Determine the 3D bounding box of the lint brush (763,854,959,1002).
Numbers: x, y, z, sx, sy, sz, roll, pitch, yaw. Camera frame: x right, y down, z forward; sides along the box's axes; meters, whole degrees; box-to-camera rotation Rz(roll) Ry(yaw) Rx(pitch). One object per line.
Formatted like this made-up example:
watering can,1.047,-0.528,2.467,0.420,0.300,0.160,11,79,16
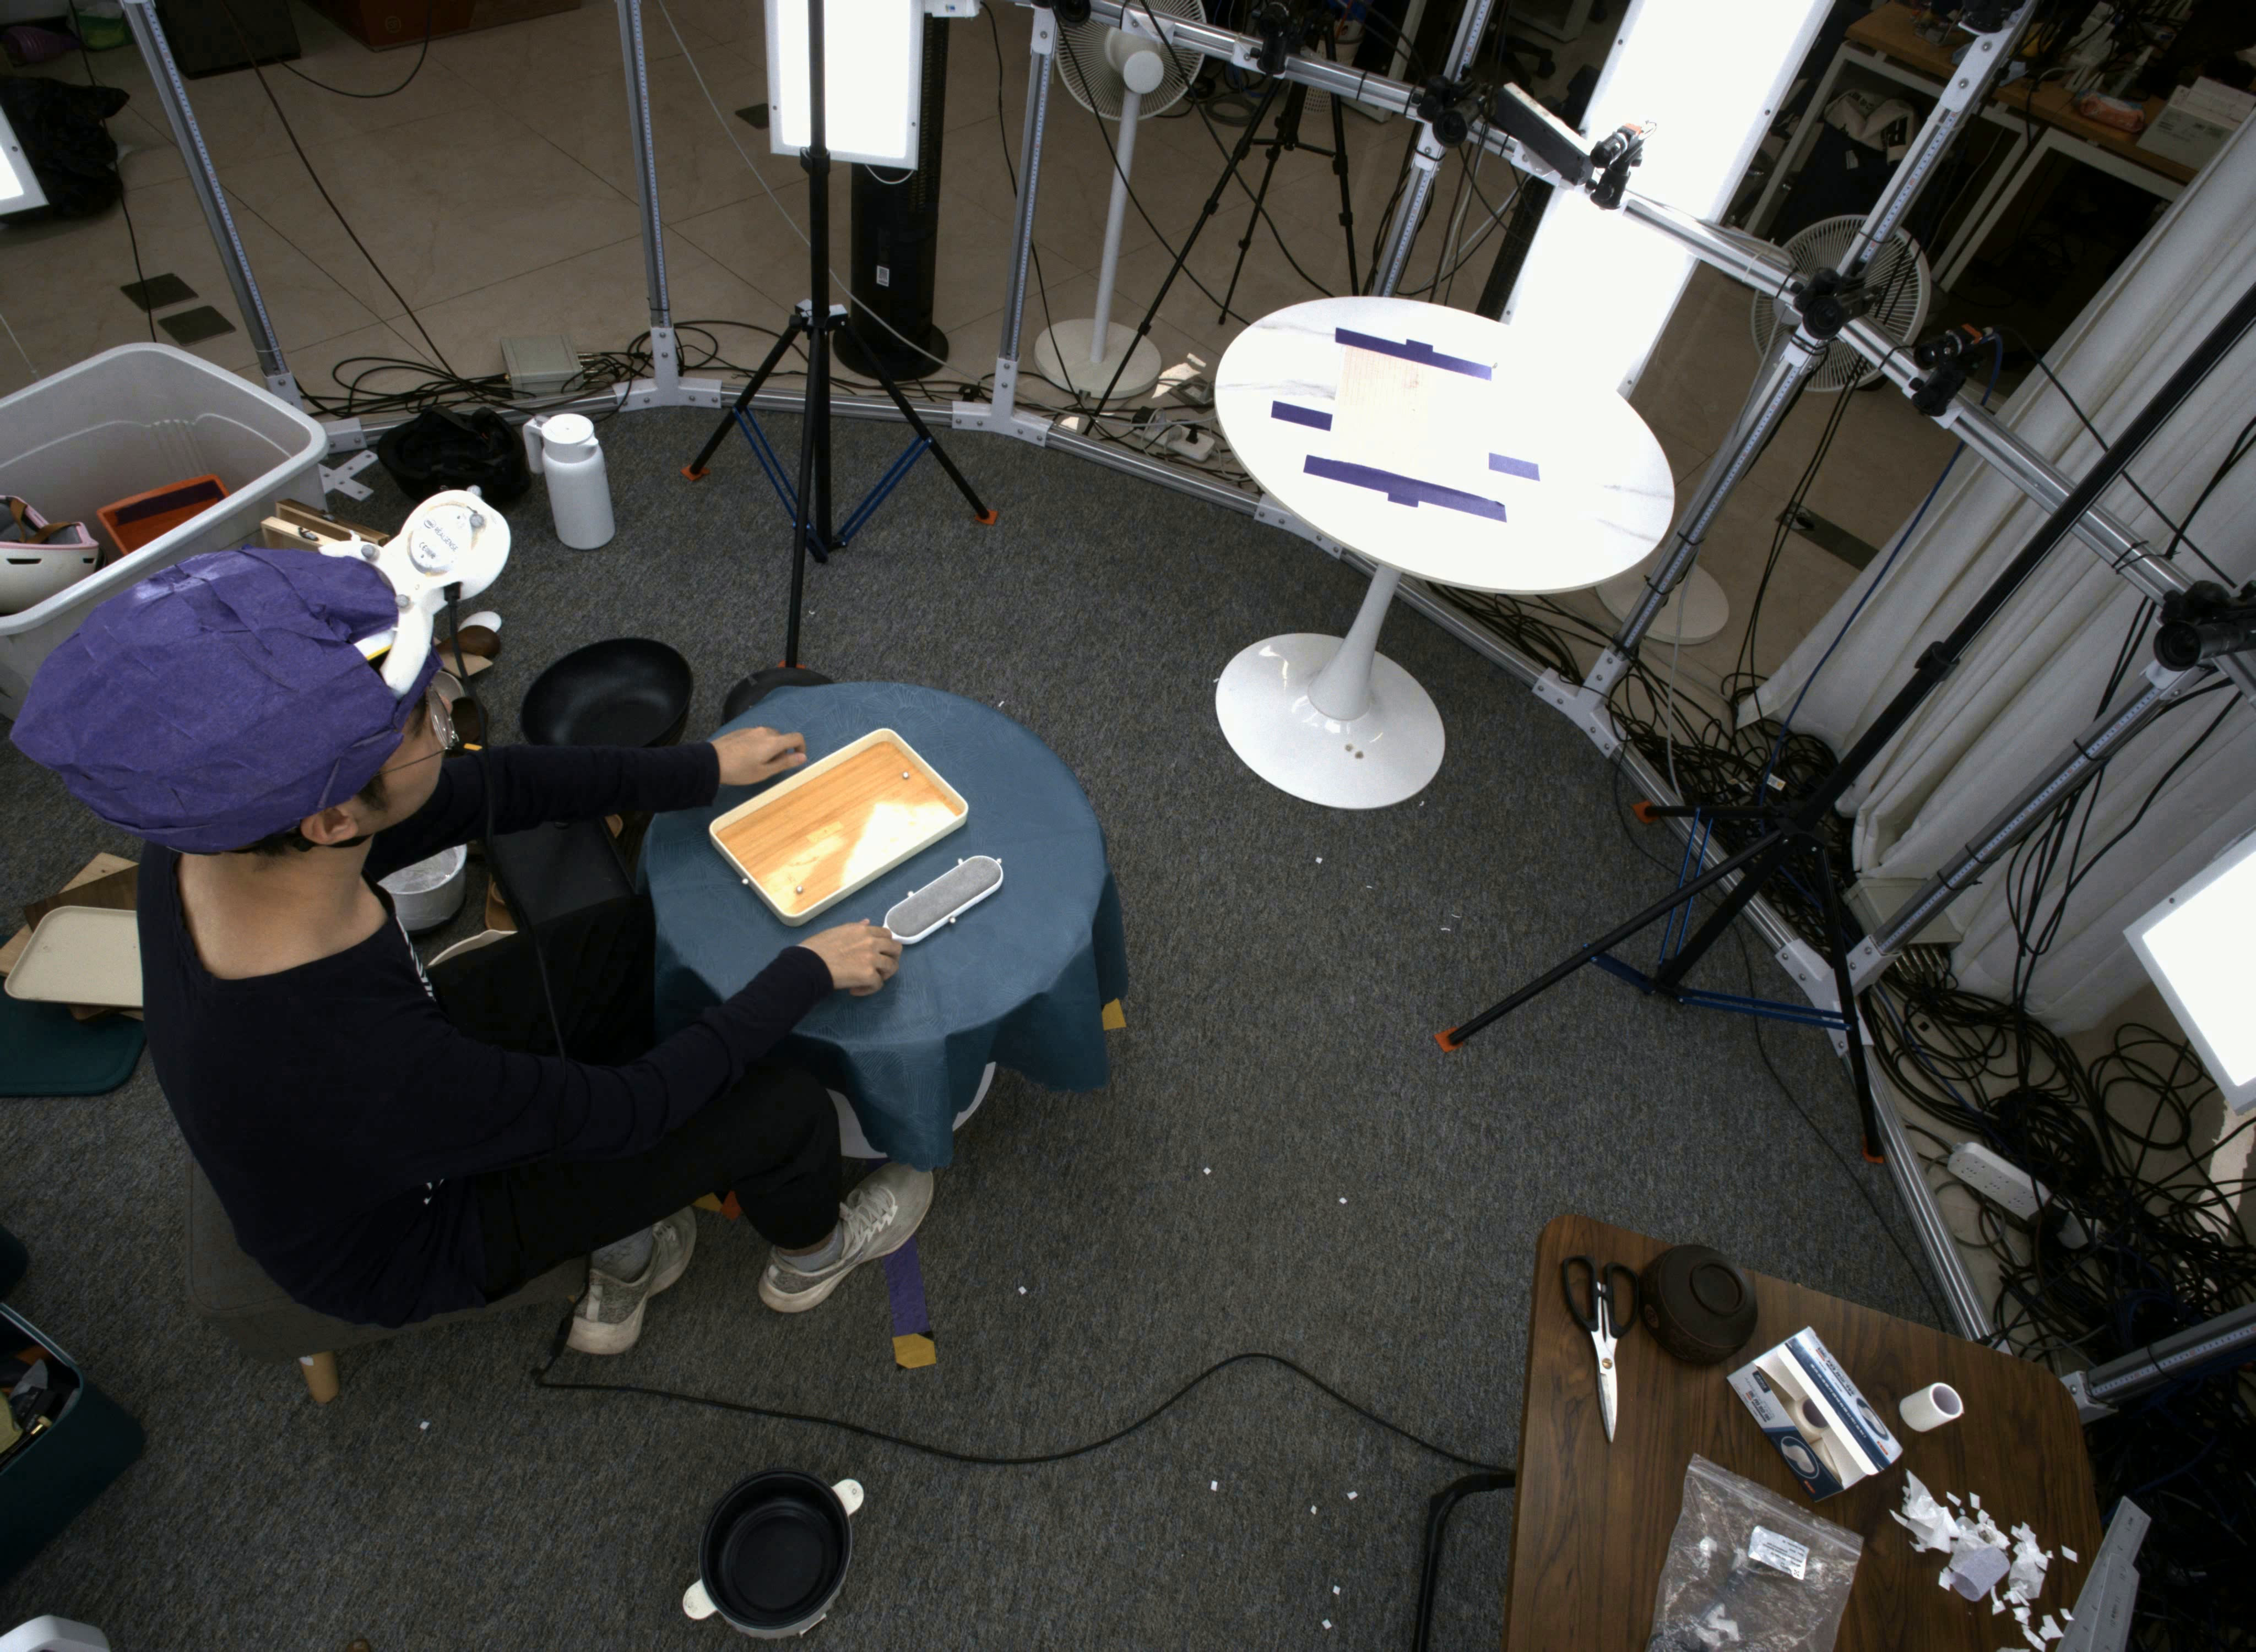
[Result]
lint brush,-0.336,0.125,1.648,0.059,0.021,0.309,45,56,12

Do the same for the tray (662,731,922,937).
tray,-0.440,0.003,1.712,0.187,0.028,0.301,41,56,17
